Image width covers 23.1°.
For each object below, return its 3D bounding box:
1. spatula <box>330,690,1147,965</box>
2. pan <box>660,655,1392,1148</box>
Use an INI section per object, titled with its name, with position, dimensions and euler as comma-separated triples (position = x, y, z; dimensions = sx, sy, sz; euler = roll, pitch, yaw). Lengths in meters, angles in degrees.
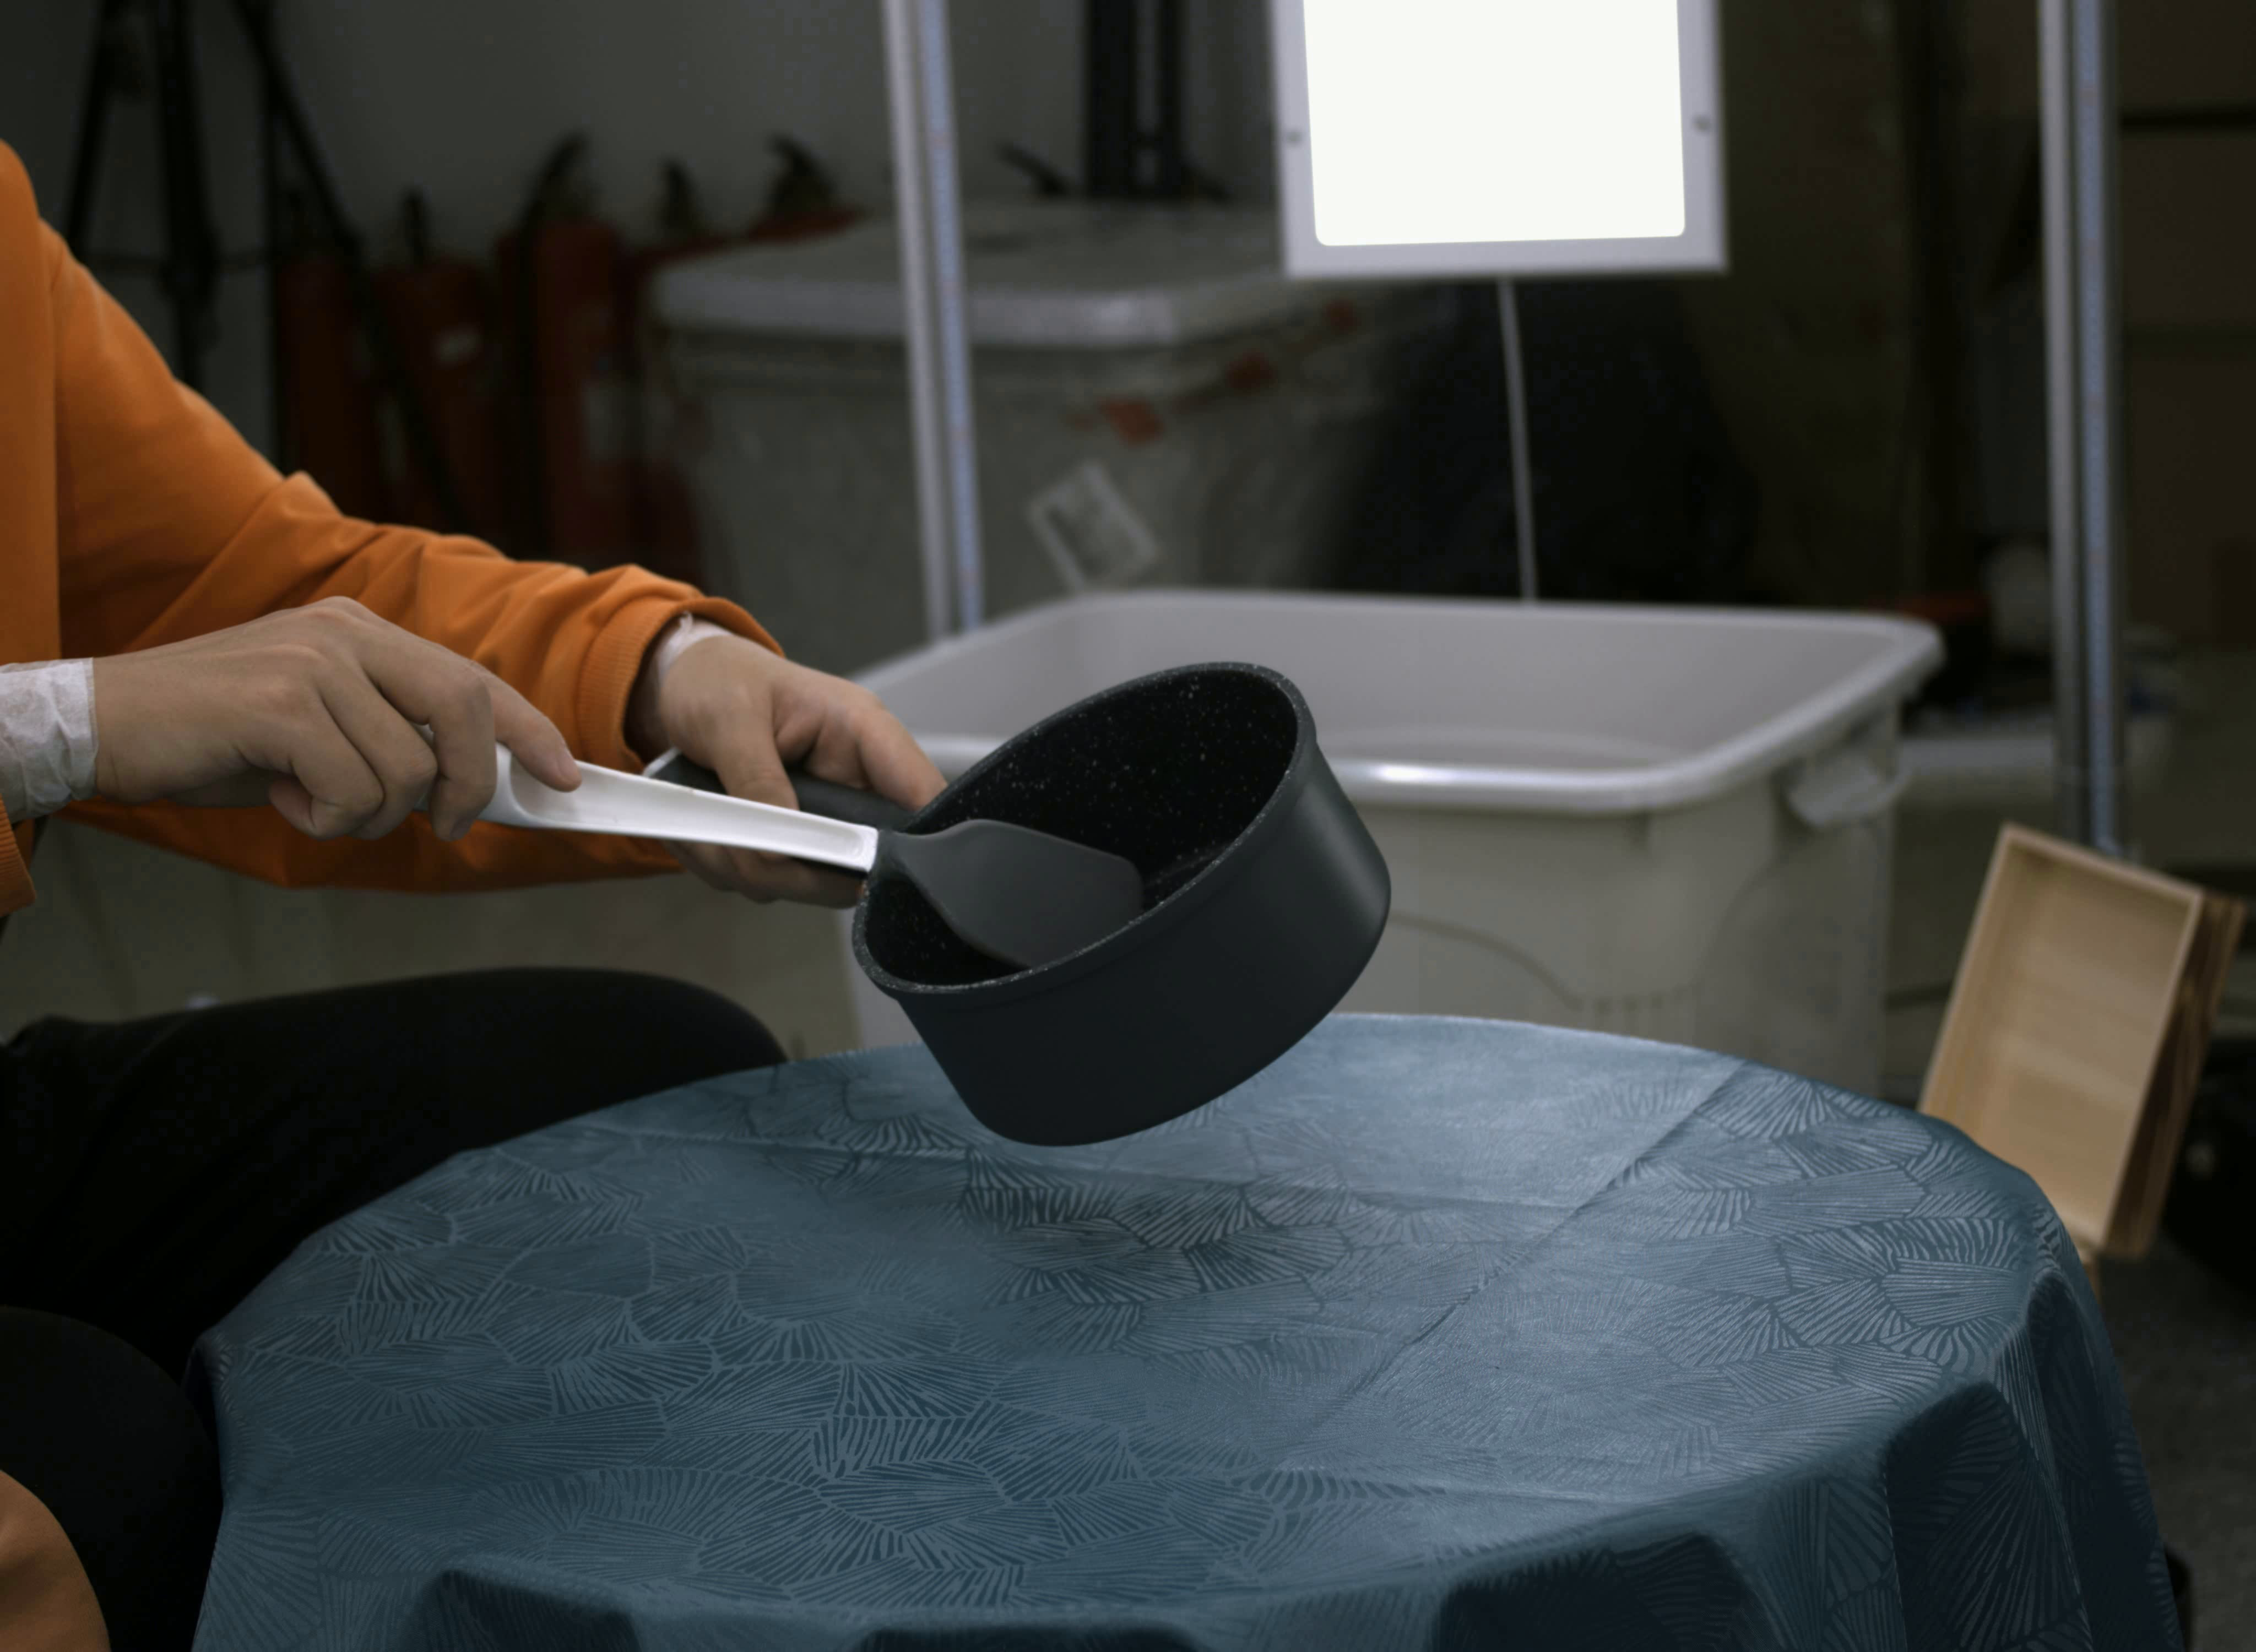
[spatula]
position = -0.121, 0.002, 1.819
dimensions = 0.283, 0.058, 0.033
euler = 13, -31, -18
[pan]
position = -0.048, 0.018, 1.890
dimensions = 0.169, 0.086, 0.335
euler = -43, 29, -24
